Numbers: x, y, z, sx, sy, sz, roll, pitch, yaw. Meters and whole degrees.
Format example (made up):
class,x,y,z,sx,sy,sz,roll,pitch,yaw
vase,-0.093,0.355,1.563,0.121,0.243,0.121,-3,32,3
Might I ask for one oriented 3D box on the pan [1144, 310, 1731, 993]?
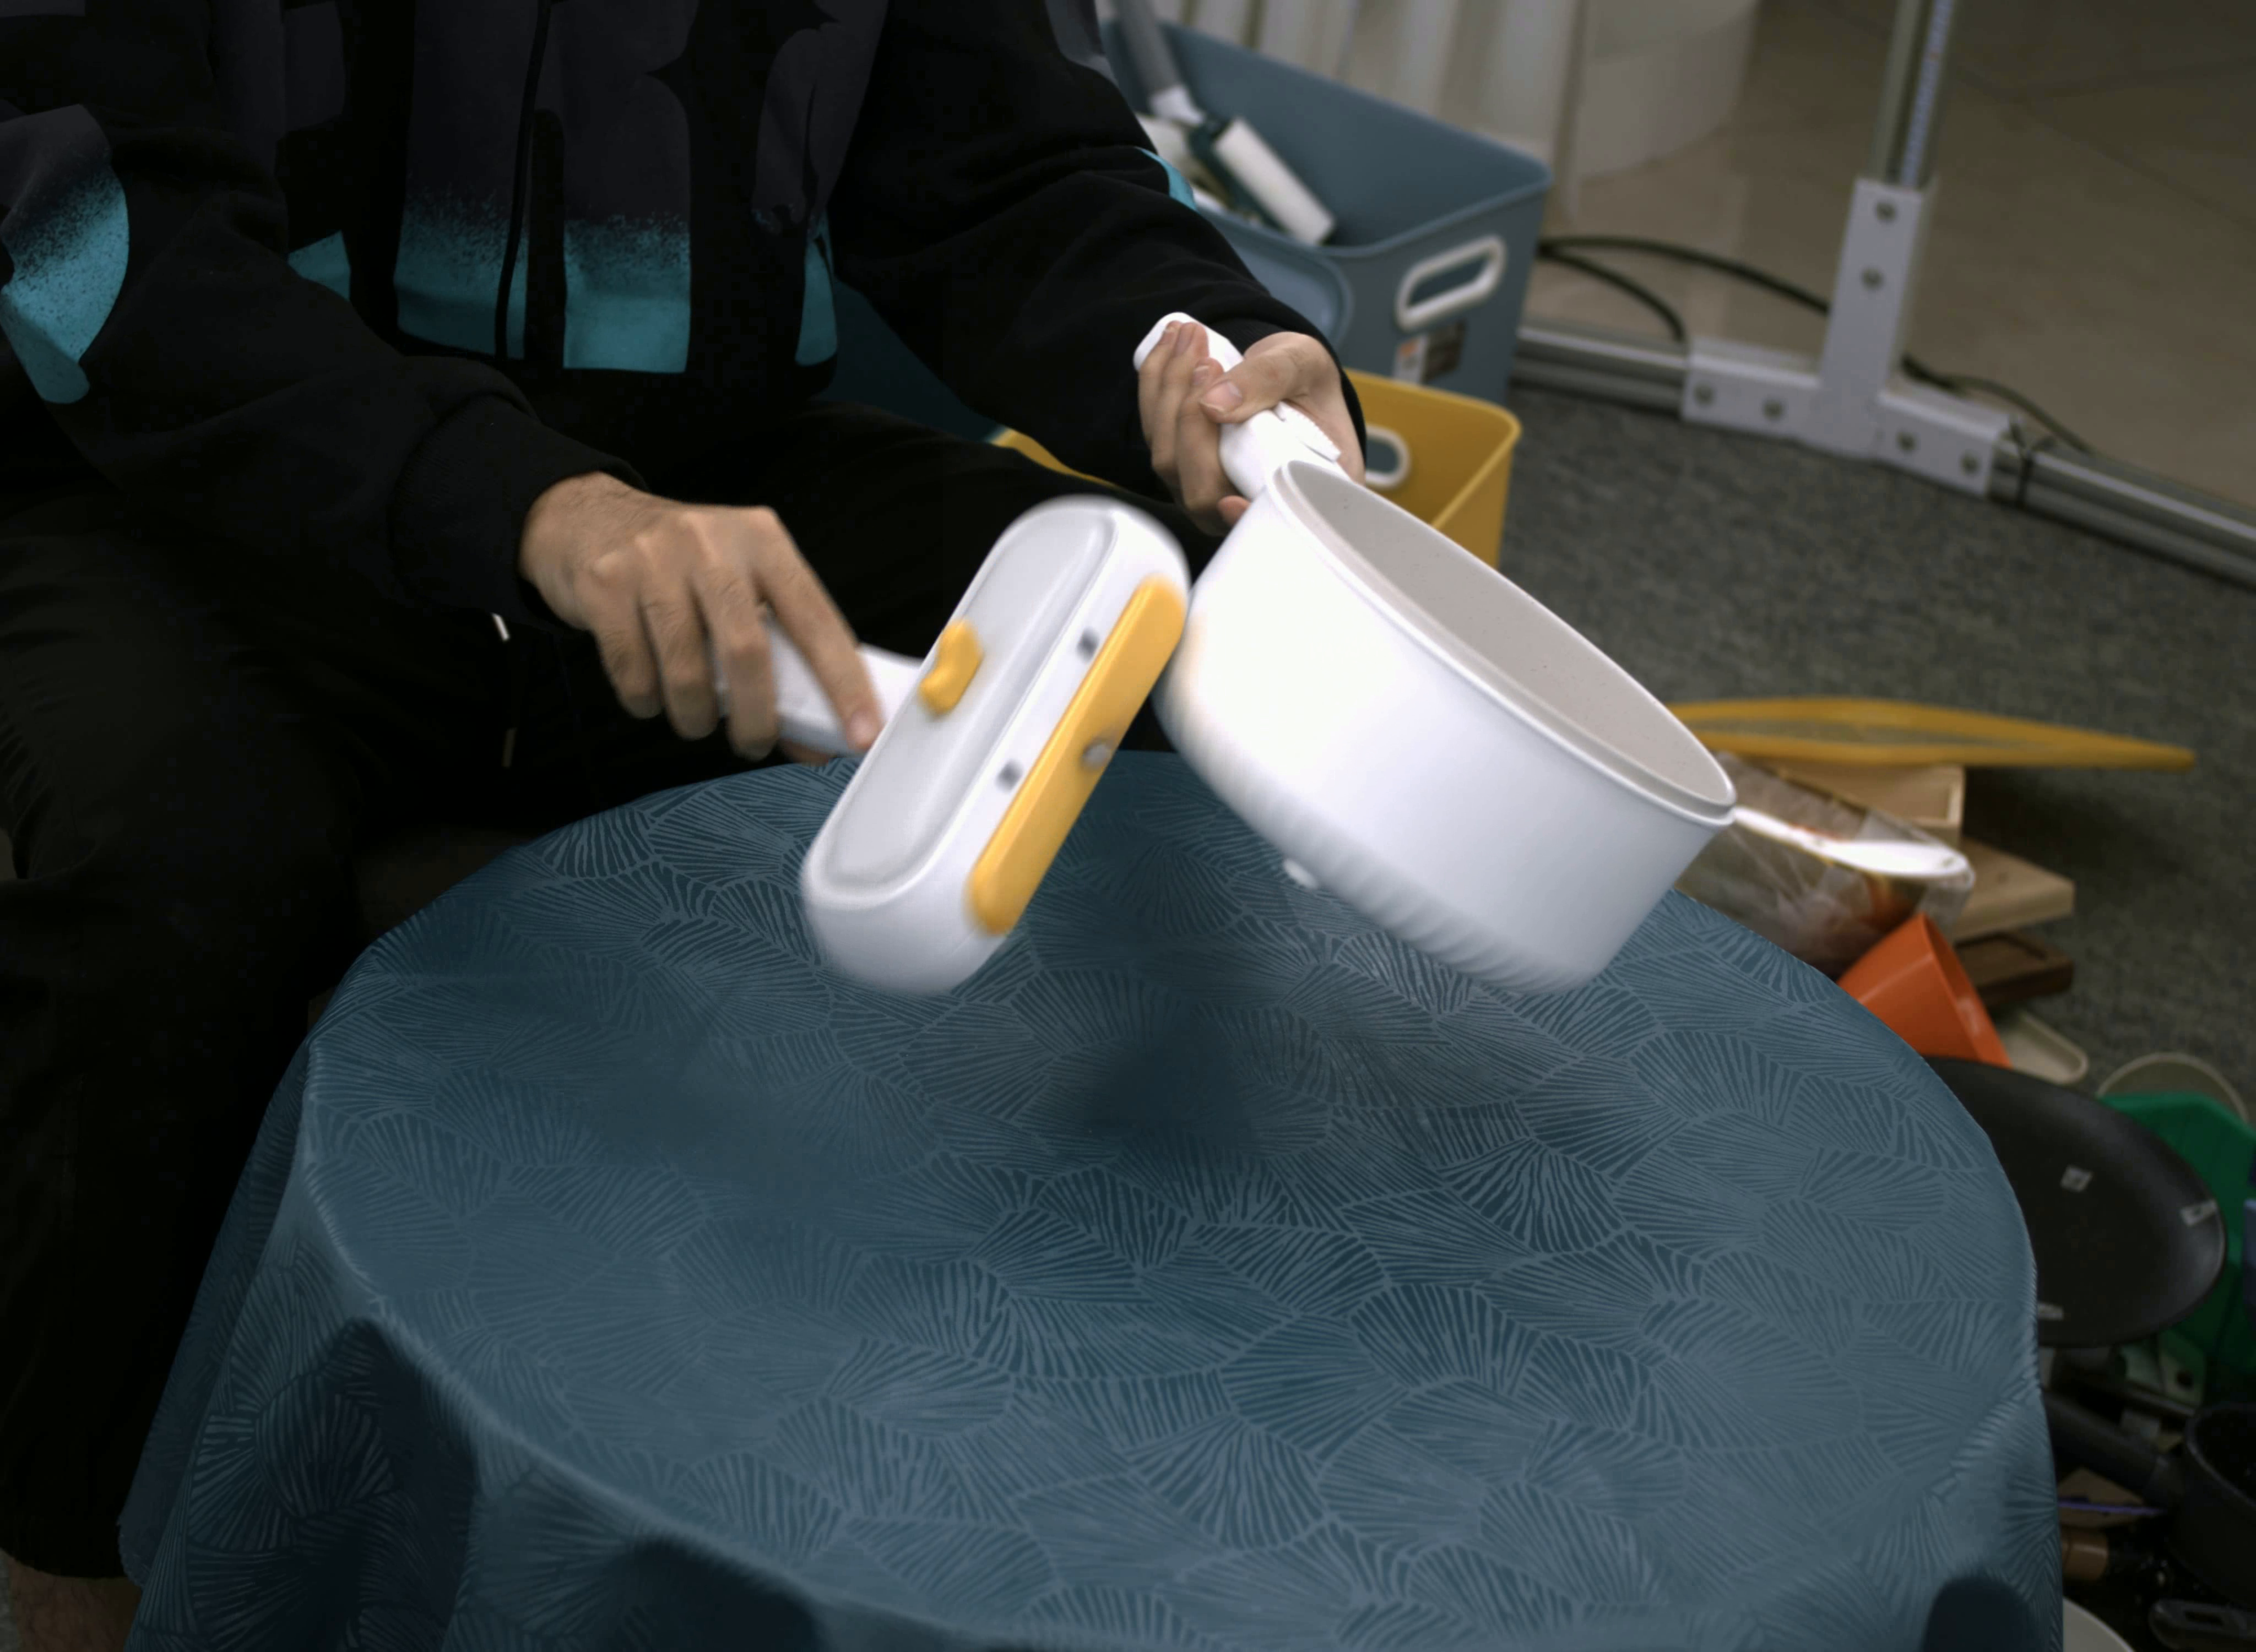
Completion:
class,x,y,z,sx,sy,sz,roll,pitch,yaw
pan,0.071,-0.069,1.900,0.199,0.102,0.358,28,15,-36

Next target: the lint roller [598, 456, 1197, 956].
class,x,y,z,sx,sy,sz,roll,pitch,yaw
lint roller,-0.090,-0.050,1.814,0.193,0.073,0.194,5,59,30
